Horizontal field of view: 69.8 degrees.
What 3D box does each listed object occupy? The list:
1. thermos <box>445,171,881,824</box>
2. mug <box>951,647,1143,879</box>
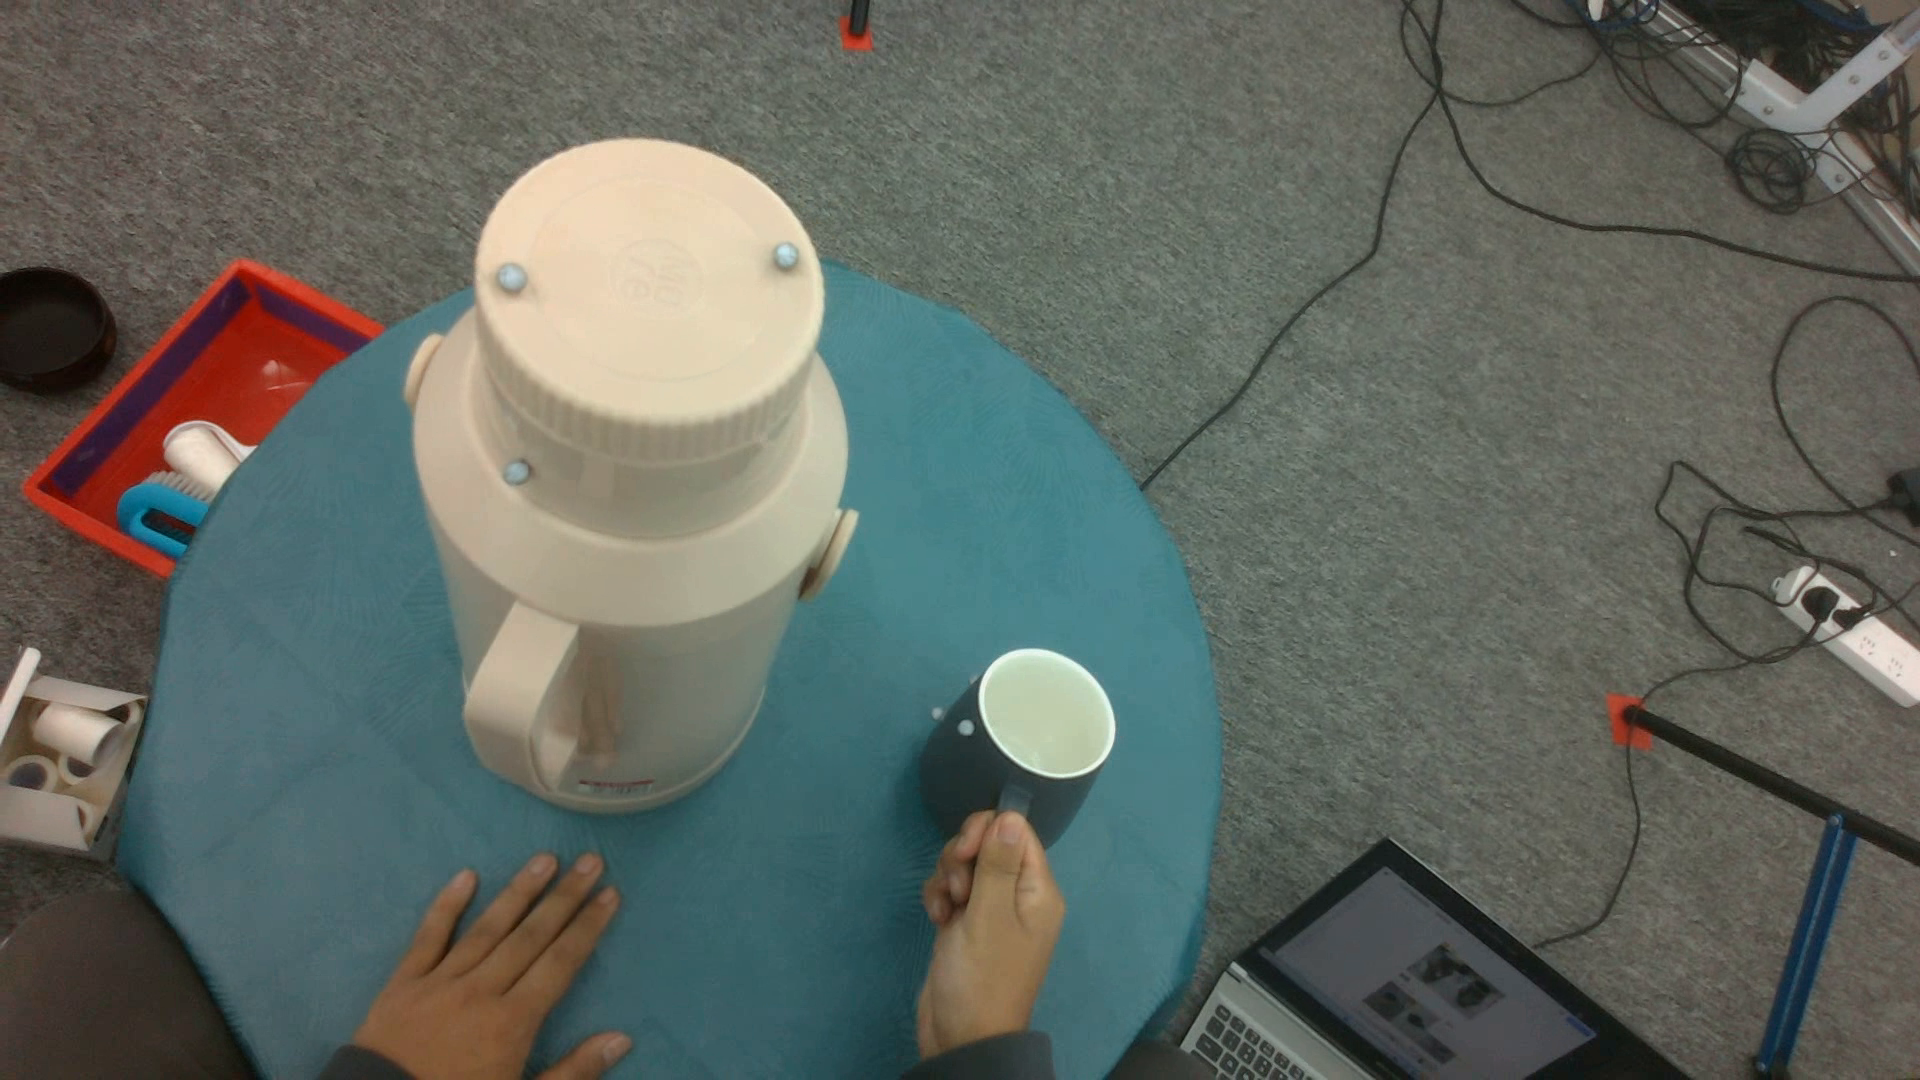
[{"bbox_3d":[-0.137,0.017,0.611,0.175,0.404,0.208,20,63,-4],"label":"thermos"},{"bbox_3d":[0.045,0.128,0.757,0.093,0.089,0.124,23,45,-1],"label":"mug"}]
